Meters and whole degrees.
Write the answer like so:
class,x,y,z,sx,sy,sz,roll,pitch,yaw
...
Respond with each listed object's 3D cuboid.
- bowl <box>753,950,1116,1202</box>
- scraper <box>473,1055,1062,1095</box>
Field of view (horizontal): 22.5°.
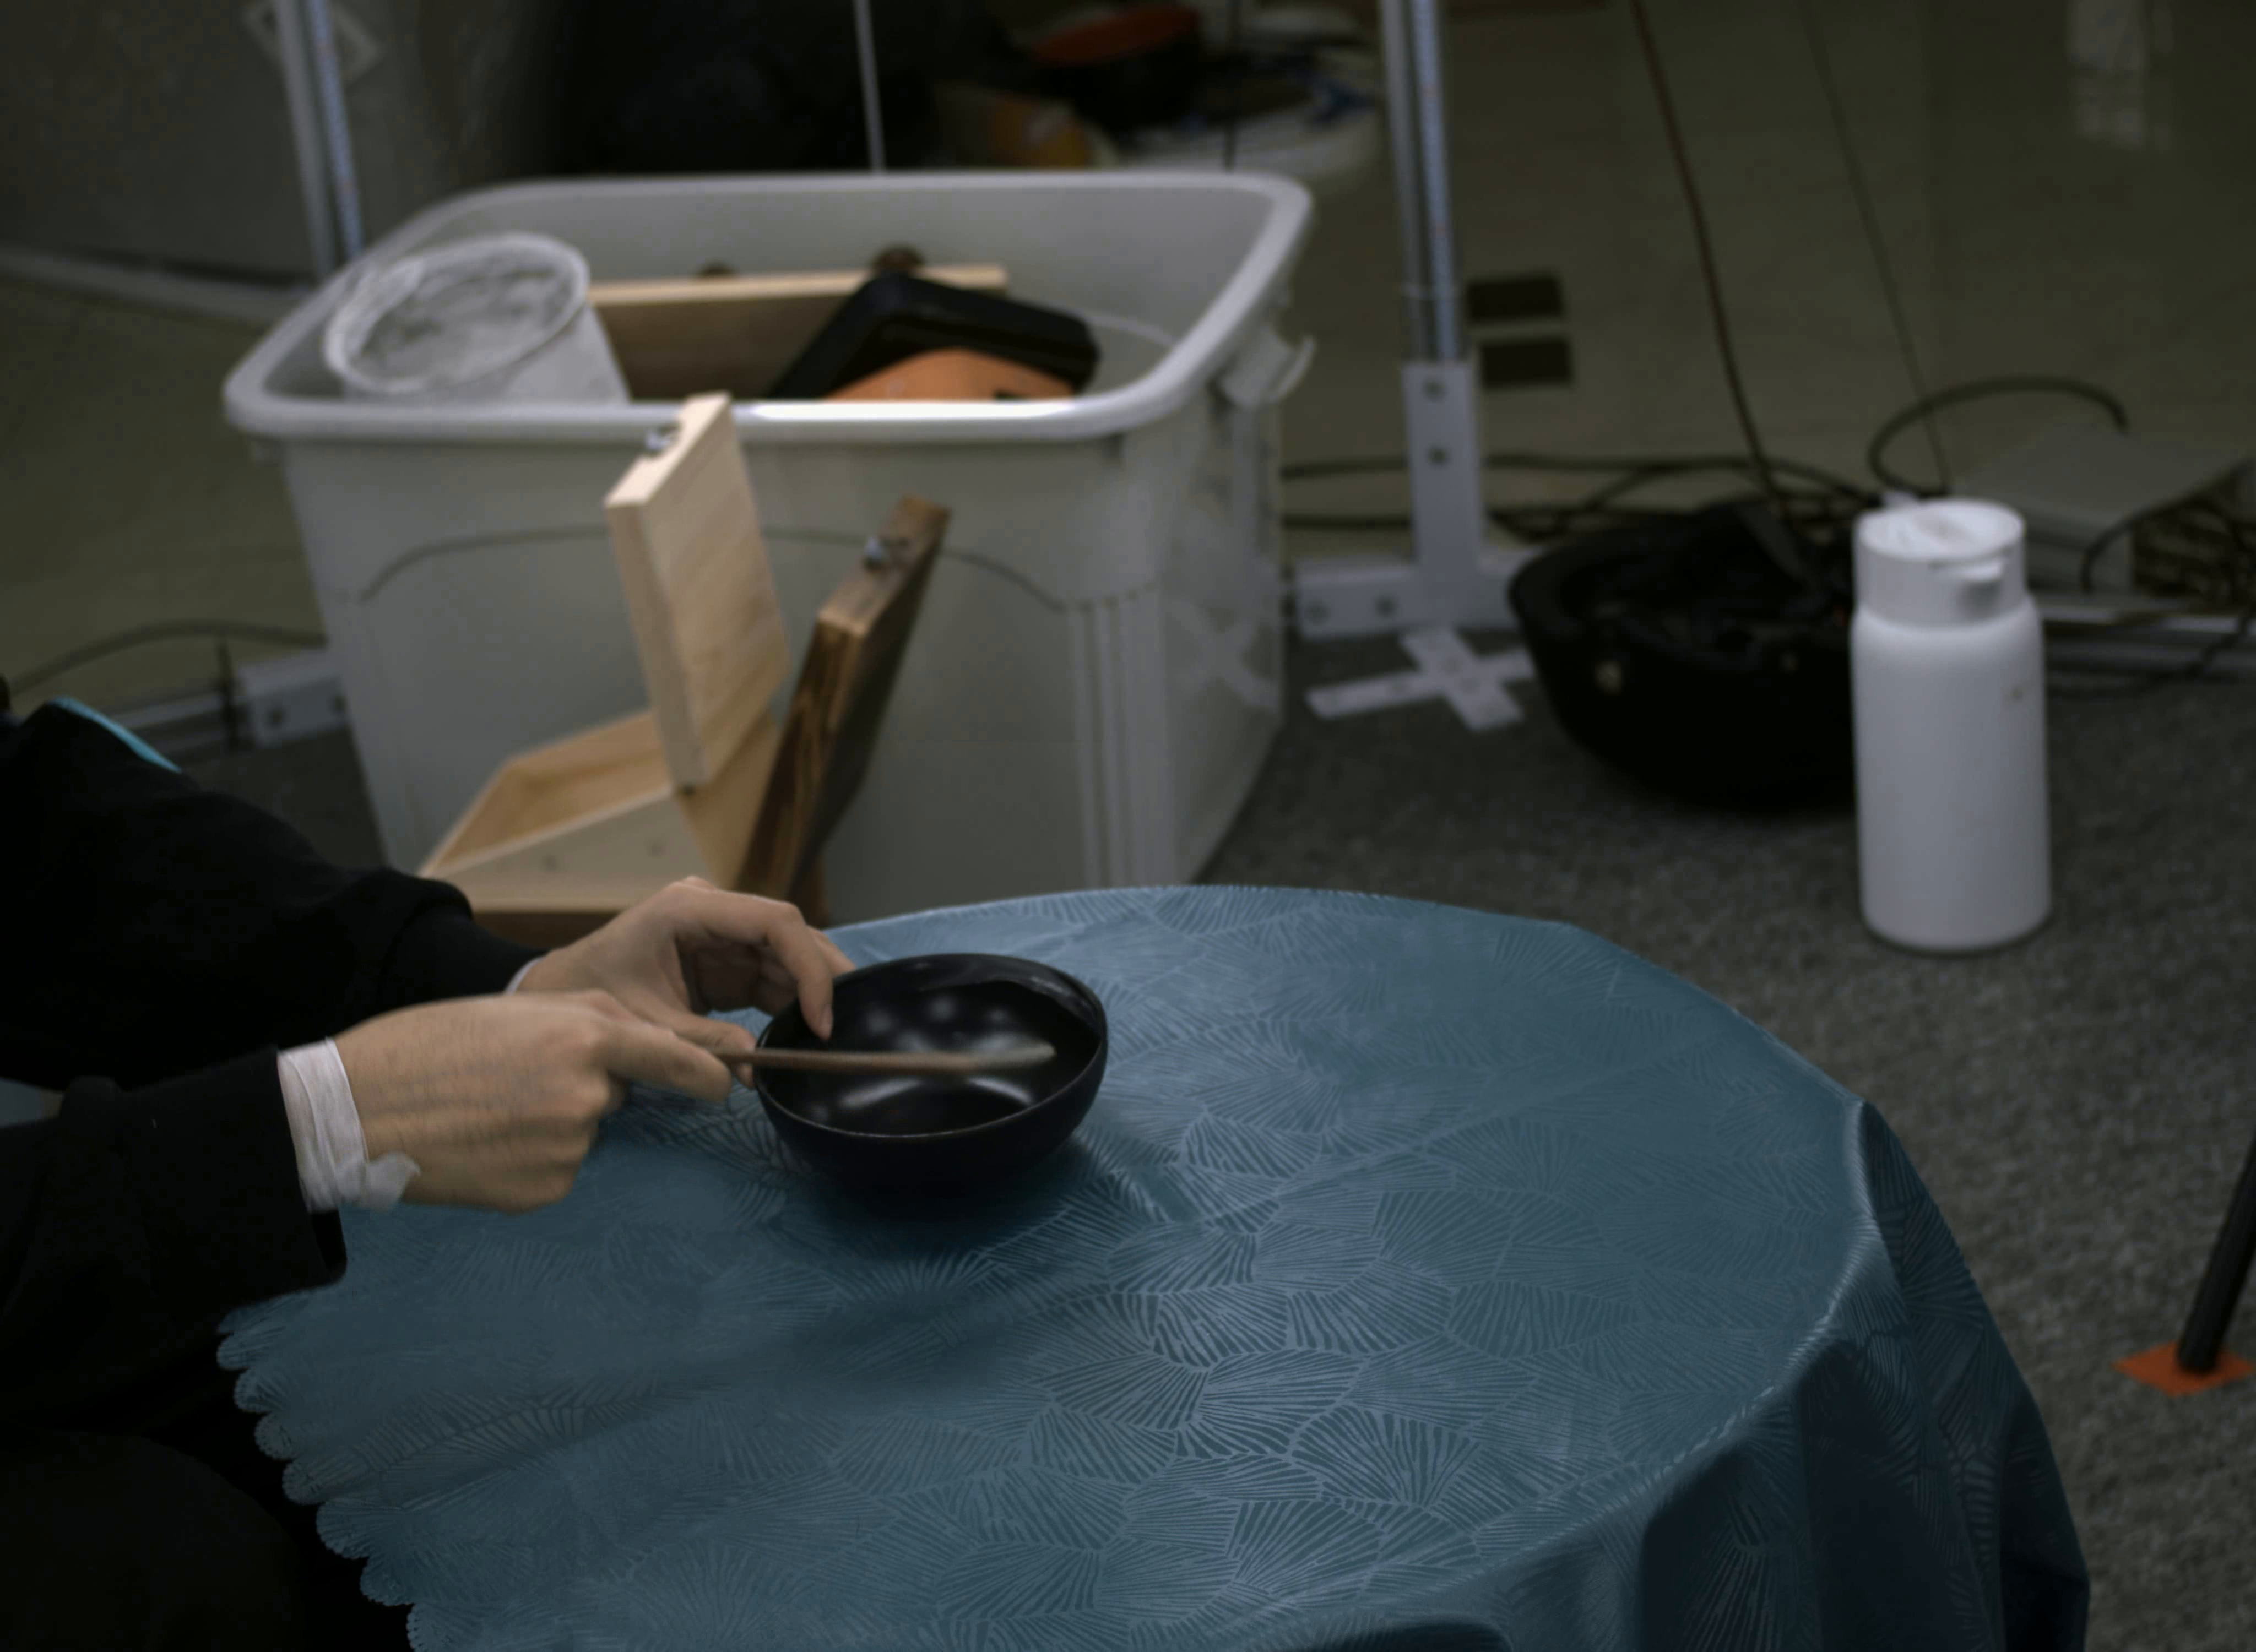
class,x,y,z,sx,sy,sz,roll,pitch,yaw
bowl,-0.073,0.104,2.183,0.140,0.050,0.137,-5,31,3
scraper,-0.129,0.088,2.035,0.211,0.011,0.075,2,2,-5
